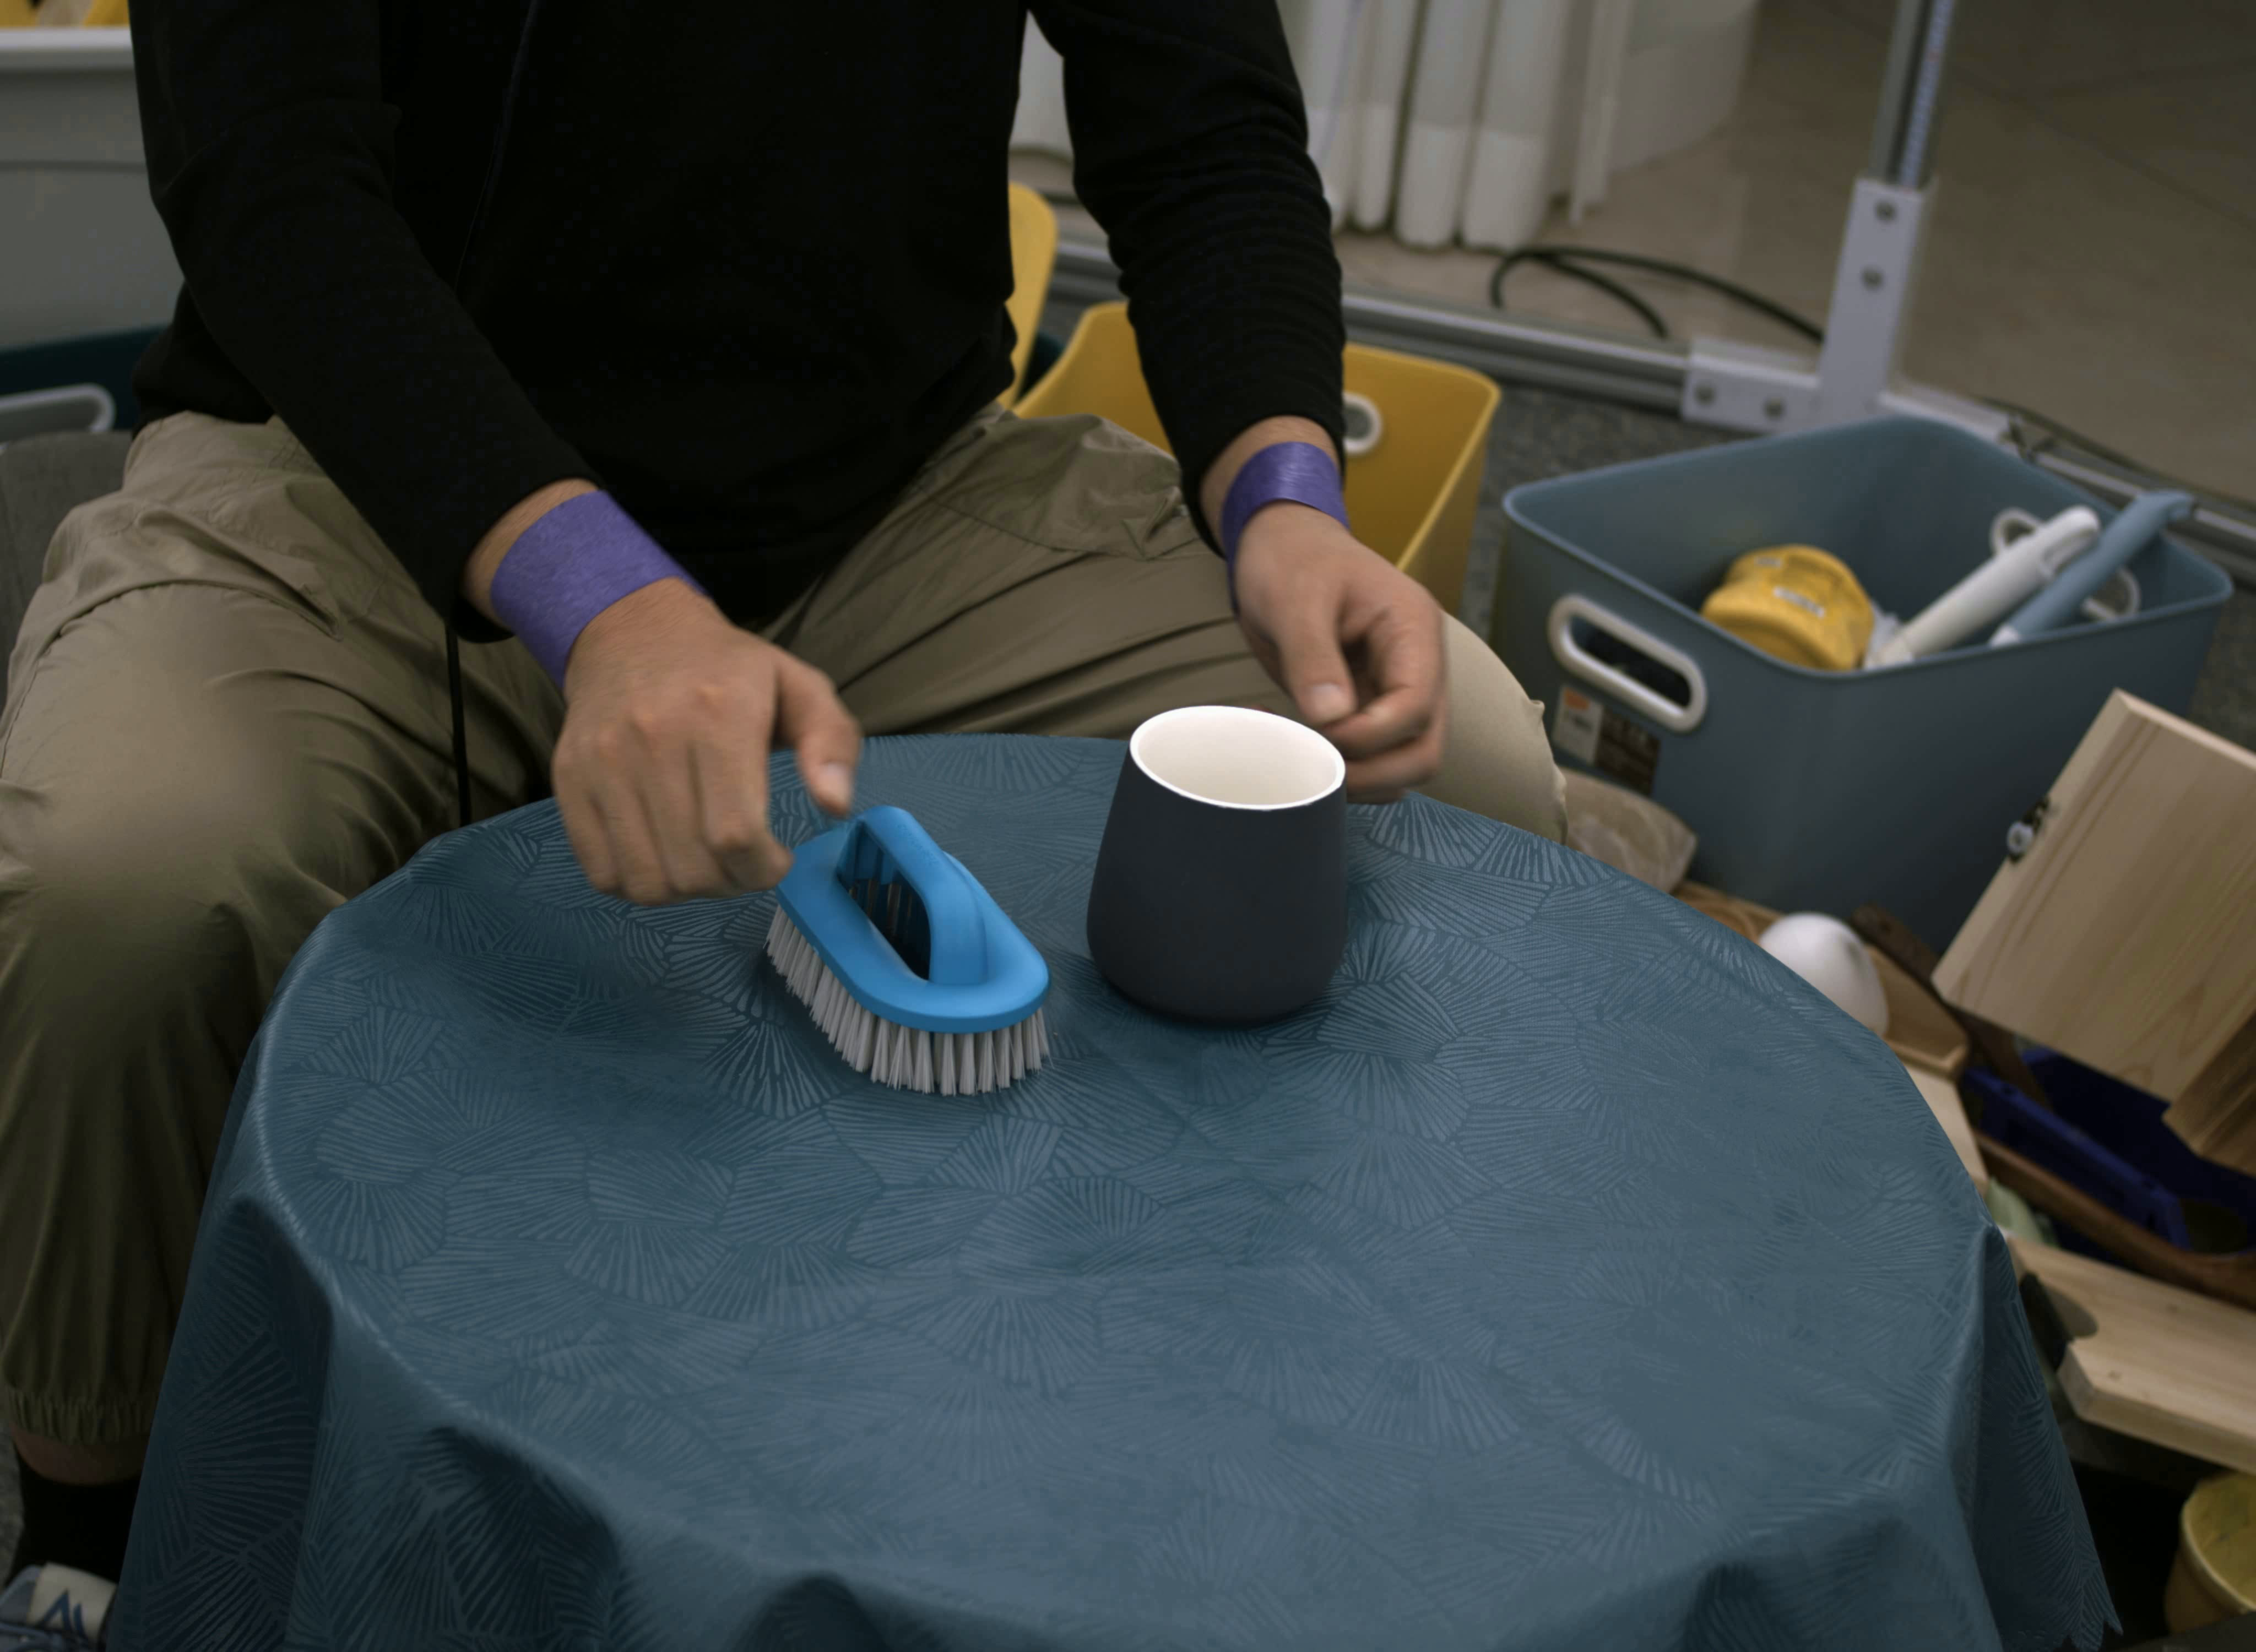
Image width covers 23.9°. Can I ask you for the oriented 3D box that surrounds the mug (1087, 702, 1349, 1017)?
[{"bbox_3d":[0.030,0.005,1.935,0.093,0.089,0.124,-2,30,-19],"label":"mug"}]

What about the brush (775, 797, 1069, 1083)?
[{"bbox_3d":[-0.075,0.032,1.891,0.084,0.063,0.143,-10,30,-21],"label":"brush"}]
